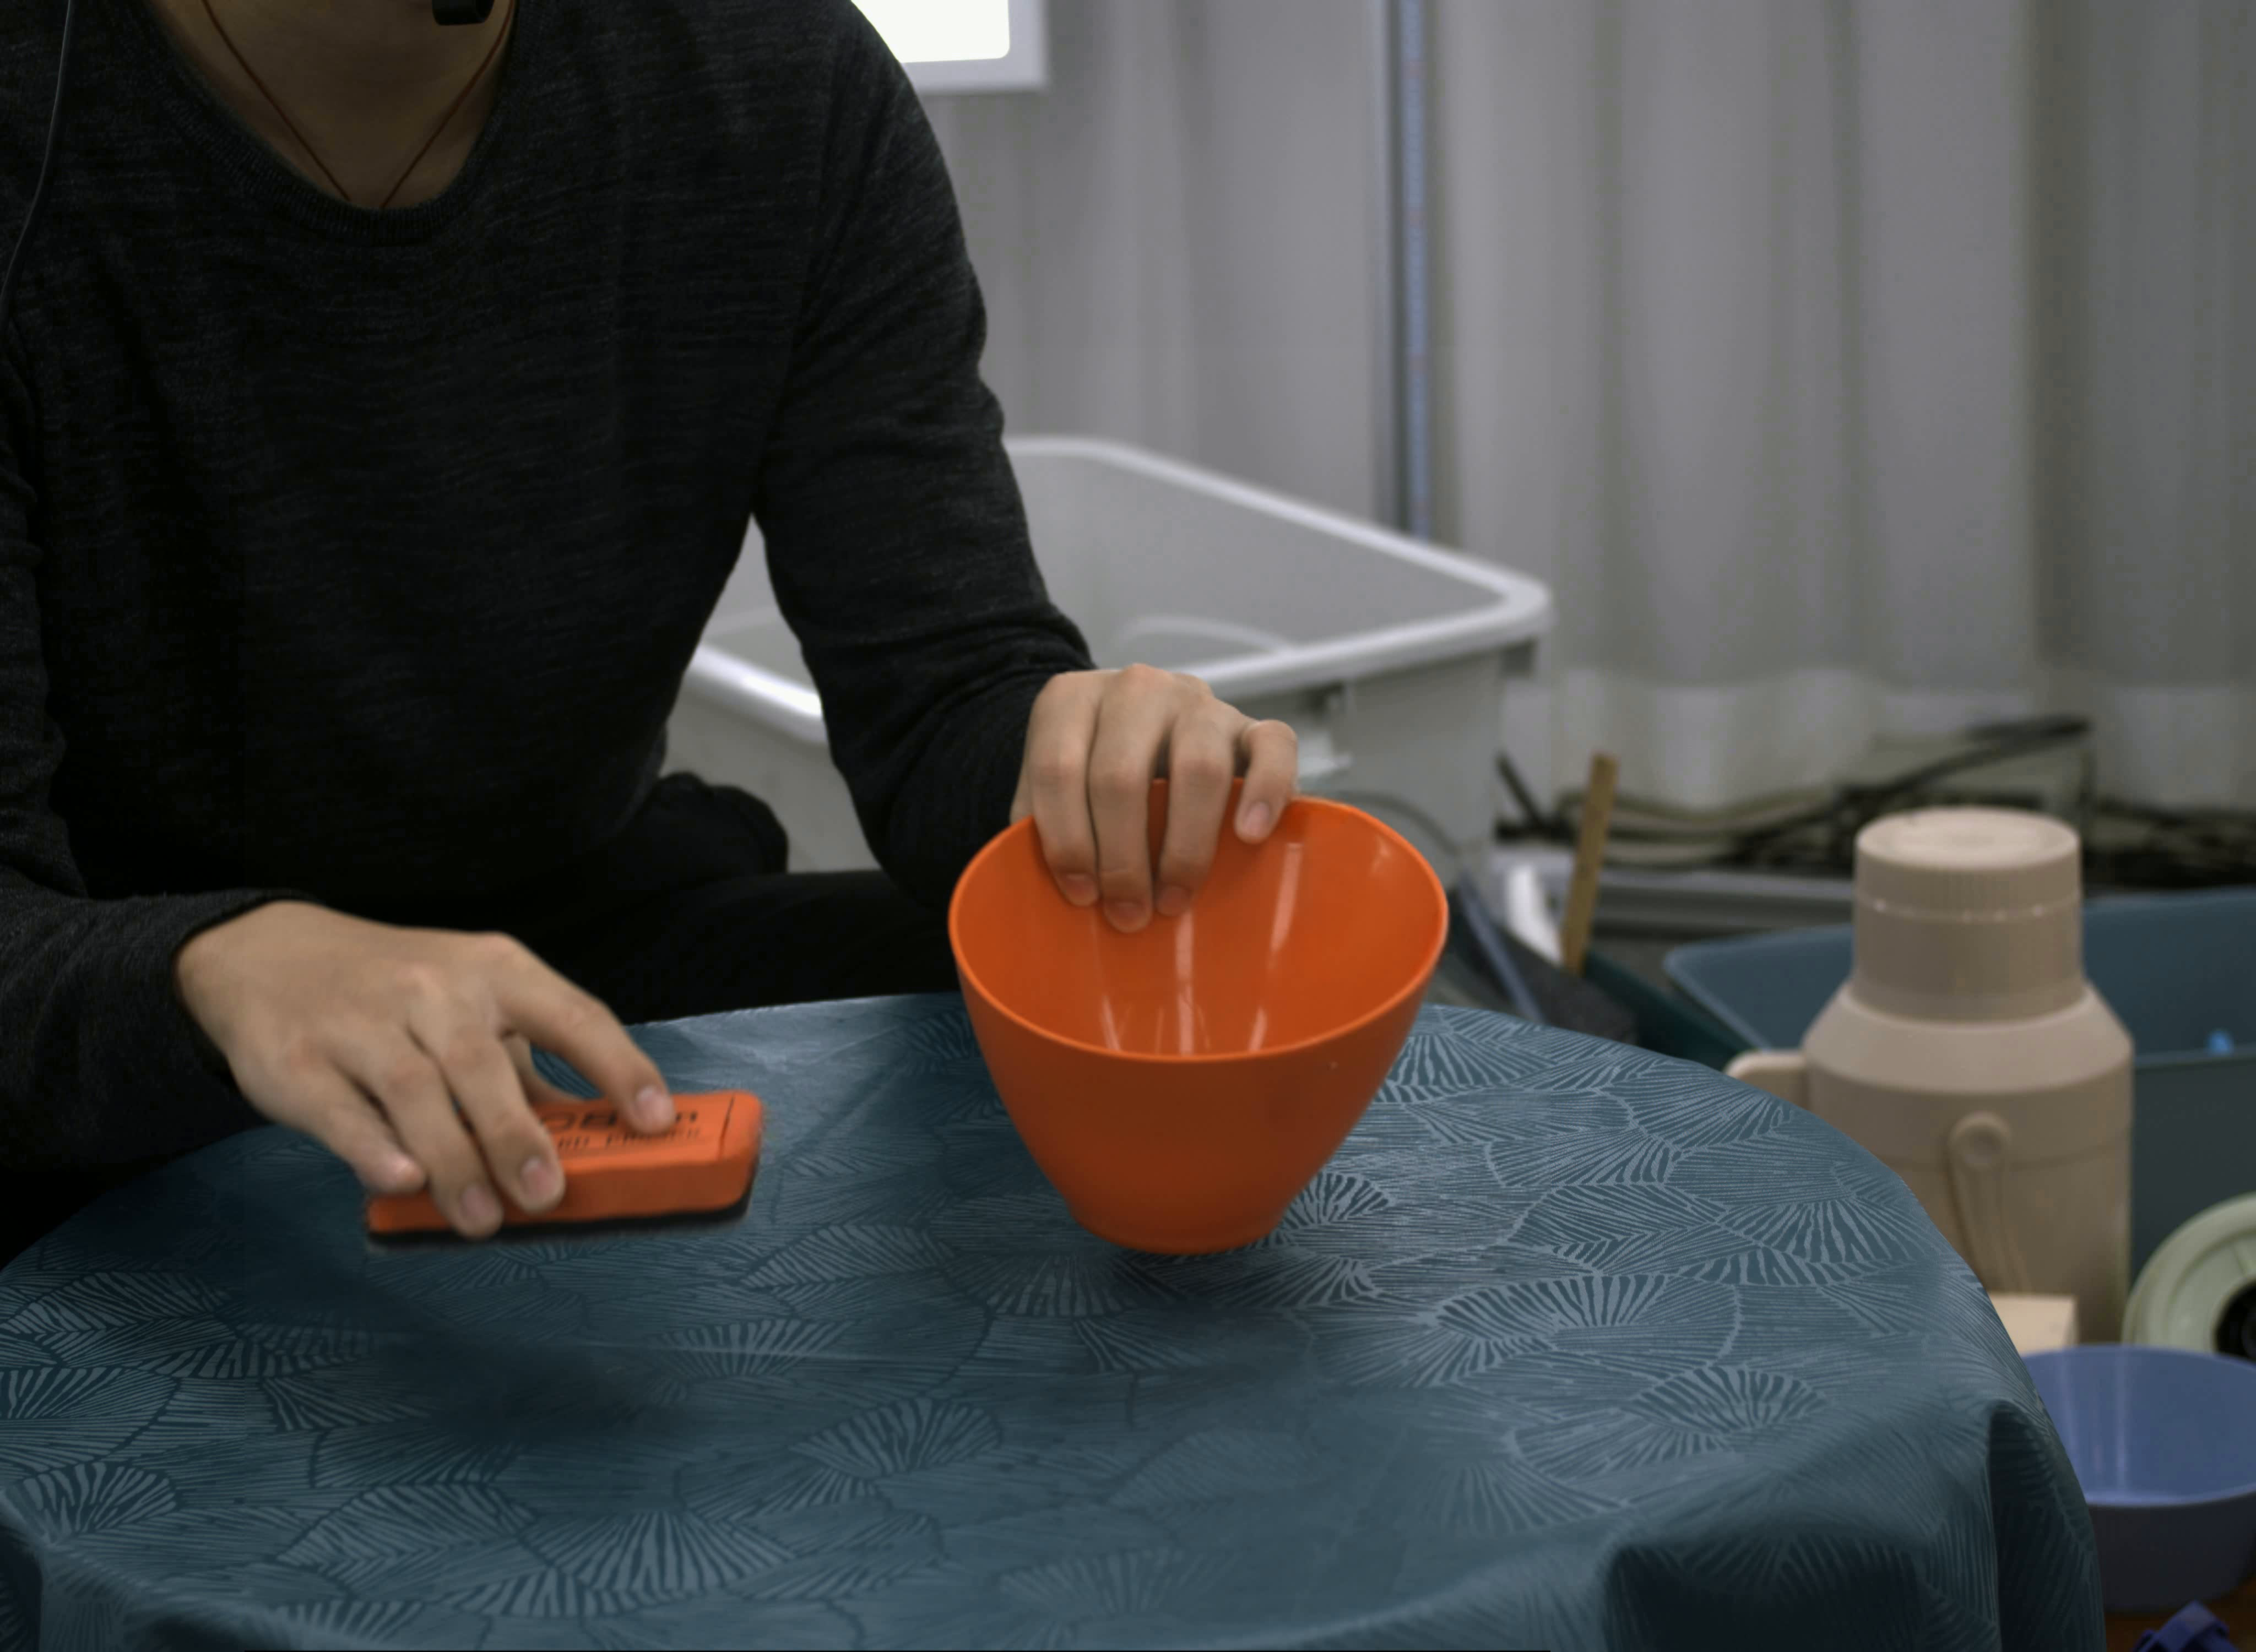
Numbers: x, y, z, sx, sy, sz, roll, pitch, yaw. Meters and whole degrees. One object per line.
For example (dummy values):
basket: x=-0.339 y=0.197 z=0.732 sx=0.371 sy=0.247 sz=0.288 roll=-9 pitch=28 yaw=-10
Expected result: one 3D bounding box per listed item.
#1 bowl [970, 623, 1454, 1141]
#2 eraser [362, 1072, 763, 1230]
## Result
bowl: x=0.012 y=0.028 z=1.620 sx=0.147 sy=0.104 sz=0.150 roll=17 pitch=41 yaw=-16
eraser: x=-0.158 y=0.091 z=1.534 sx=0.108 sy=0.023 sz=0.059 roll=-3 pitch=17 yaw=3
